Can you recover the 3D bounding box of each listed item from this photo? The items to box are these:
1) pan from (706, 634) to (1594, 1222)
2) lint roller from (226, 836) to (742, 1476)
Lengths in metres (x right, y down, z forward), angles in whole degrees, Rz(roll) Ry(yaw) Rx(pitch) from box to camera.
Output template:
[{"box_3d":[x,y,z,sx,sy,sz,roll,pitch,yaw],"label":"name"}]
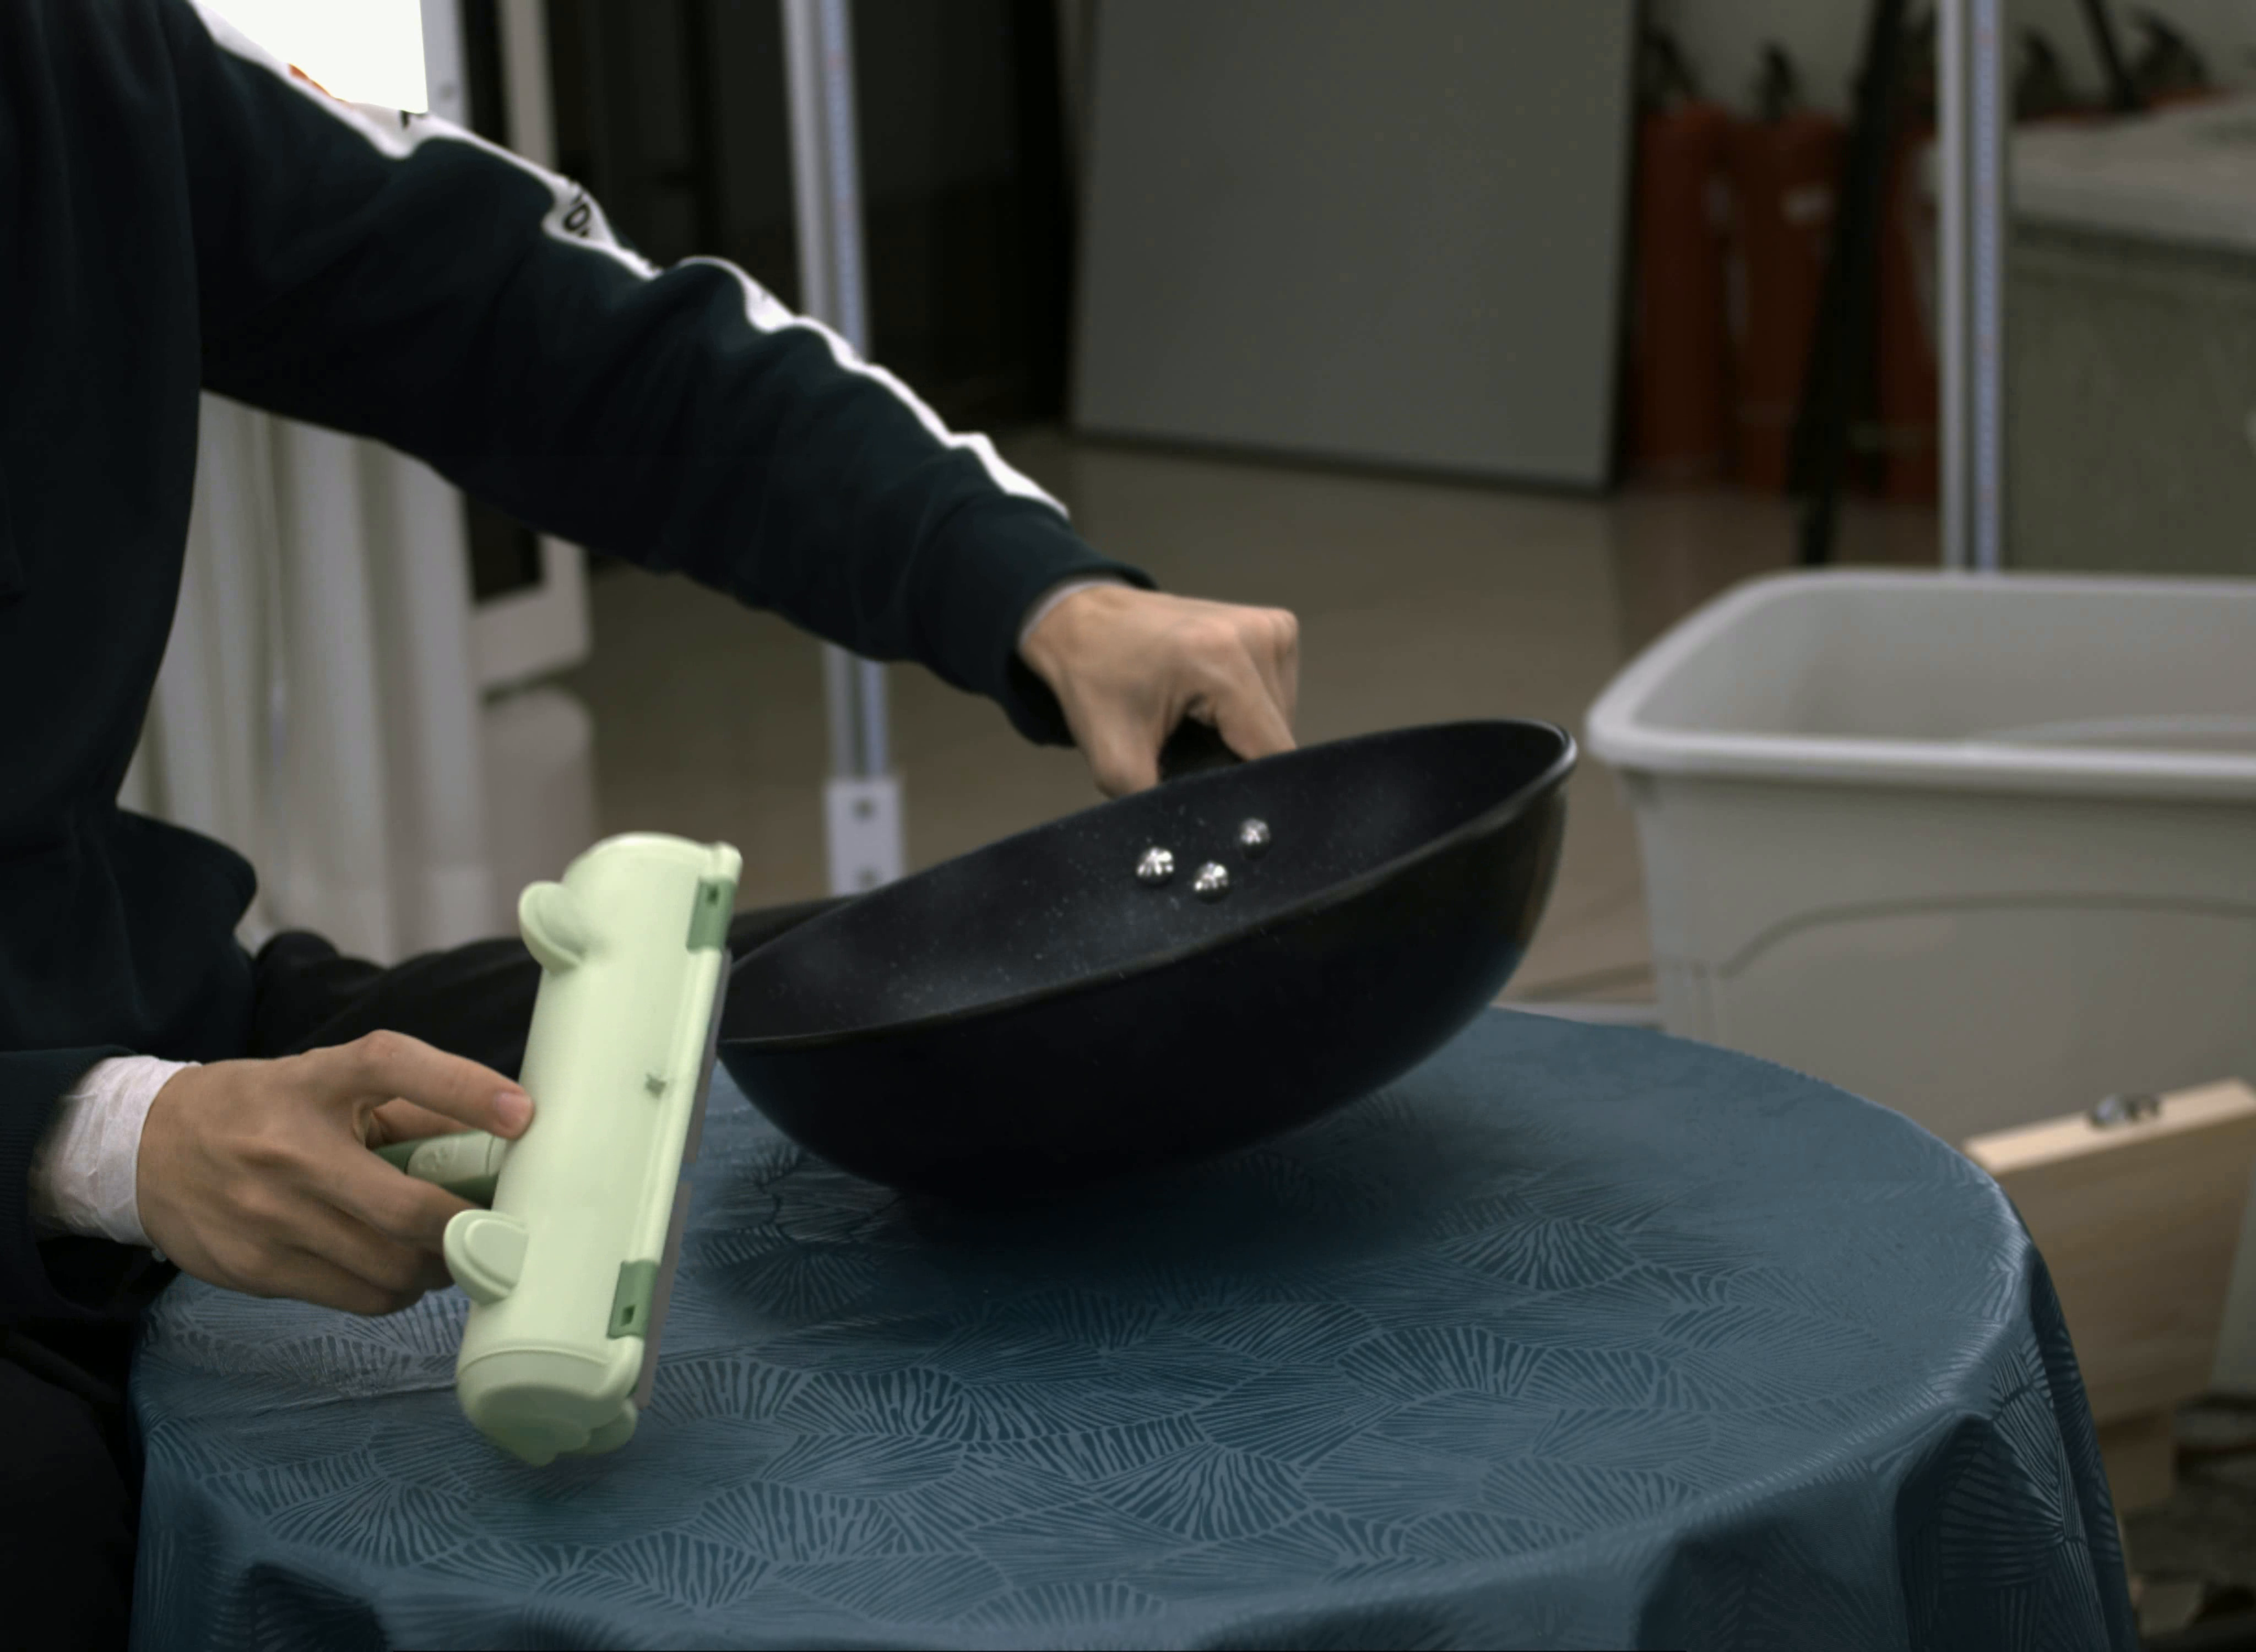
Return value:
[{"box_3d":[0.021,0.031,1.846,0.308,0.112,0.475,-15,10,11],"label":"pan"},{"box_3d":[-0.207,0.099,1.608,0.183,0.081,0.200,-11,49,25],"label":"lint roller"}]
